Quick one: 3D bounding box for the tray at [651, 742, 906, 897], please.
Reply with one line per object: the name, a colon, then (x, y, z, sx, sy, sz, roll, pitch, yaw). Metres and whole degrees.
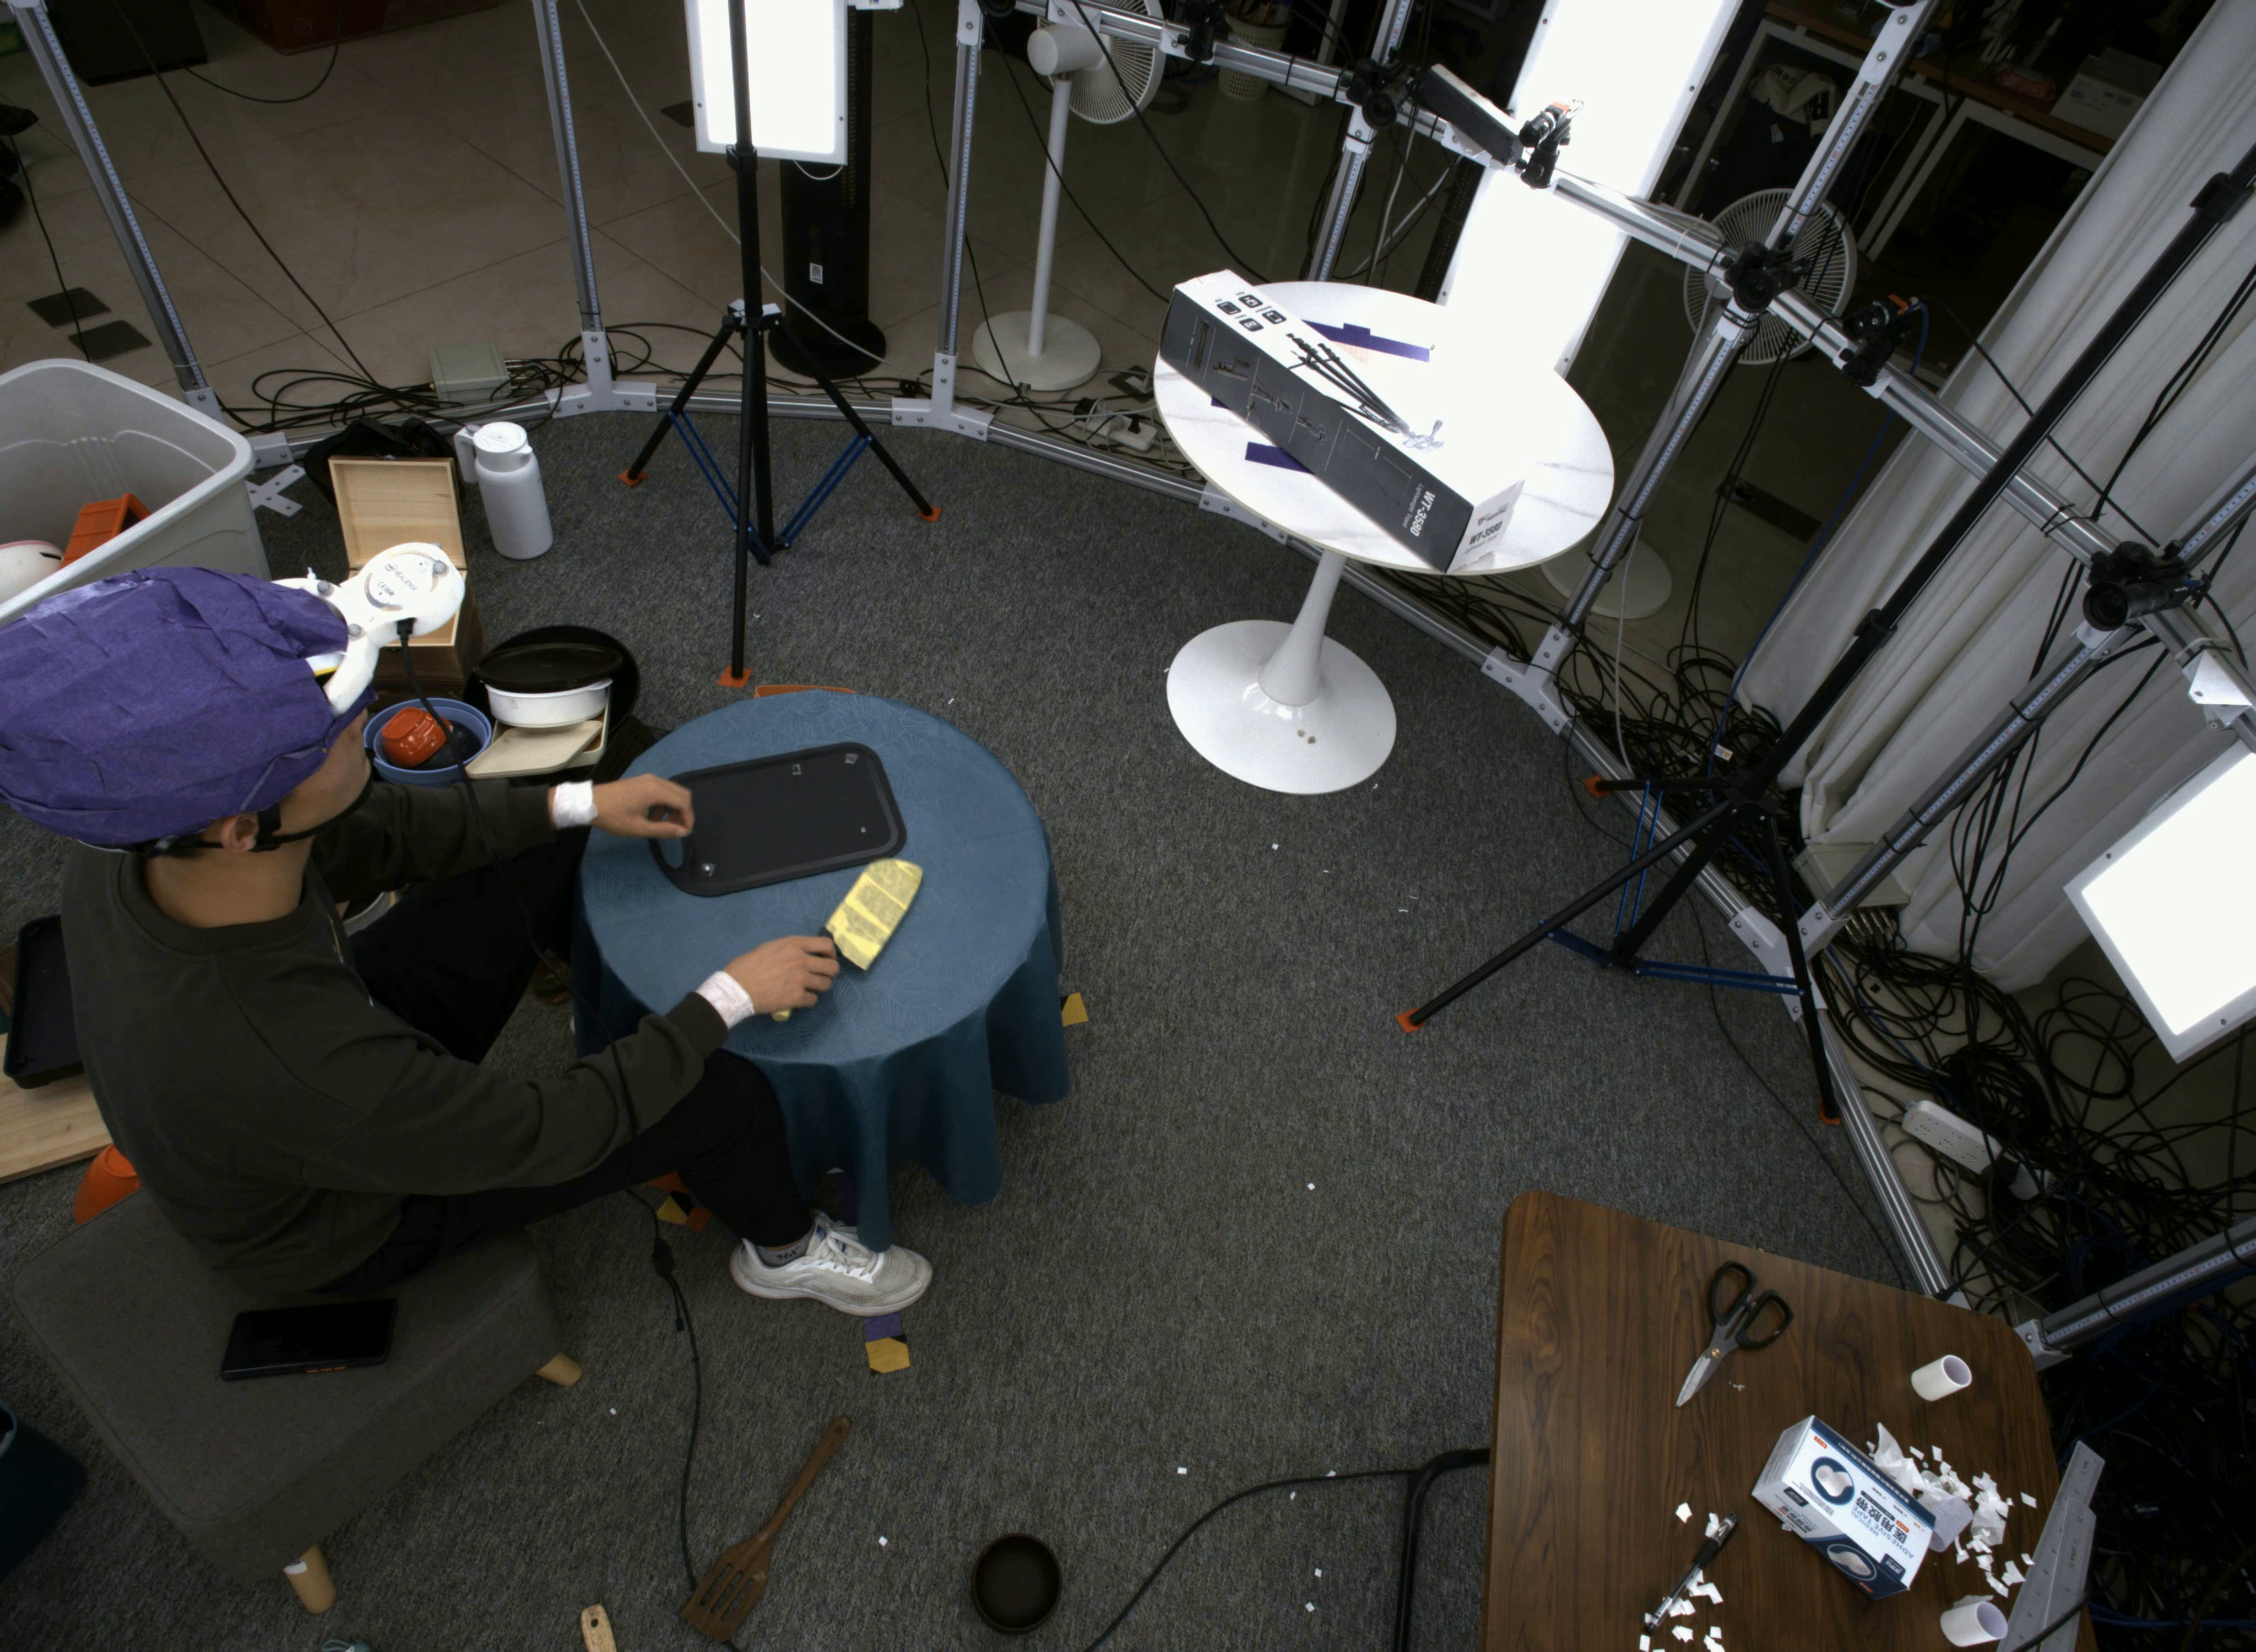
tray: (-0.470, -0.014, 1.728, 0.327, 0.010, 0.206, -12, 58, -22)

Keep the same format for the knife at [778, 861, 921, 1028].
knife: (-0.341, 0.142, 1.618, 0.082, 0.027, 0.288, 40, 50, -9)
